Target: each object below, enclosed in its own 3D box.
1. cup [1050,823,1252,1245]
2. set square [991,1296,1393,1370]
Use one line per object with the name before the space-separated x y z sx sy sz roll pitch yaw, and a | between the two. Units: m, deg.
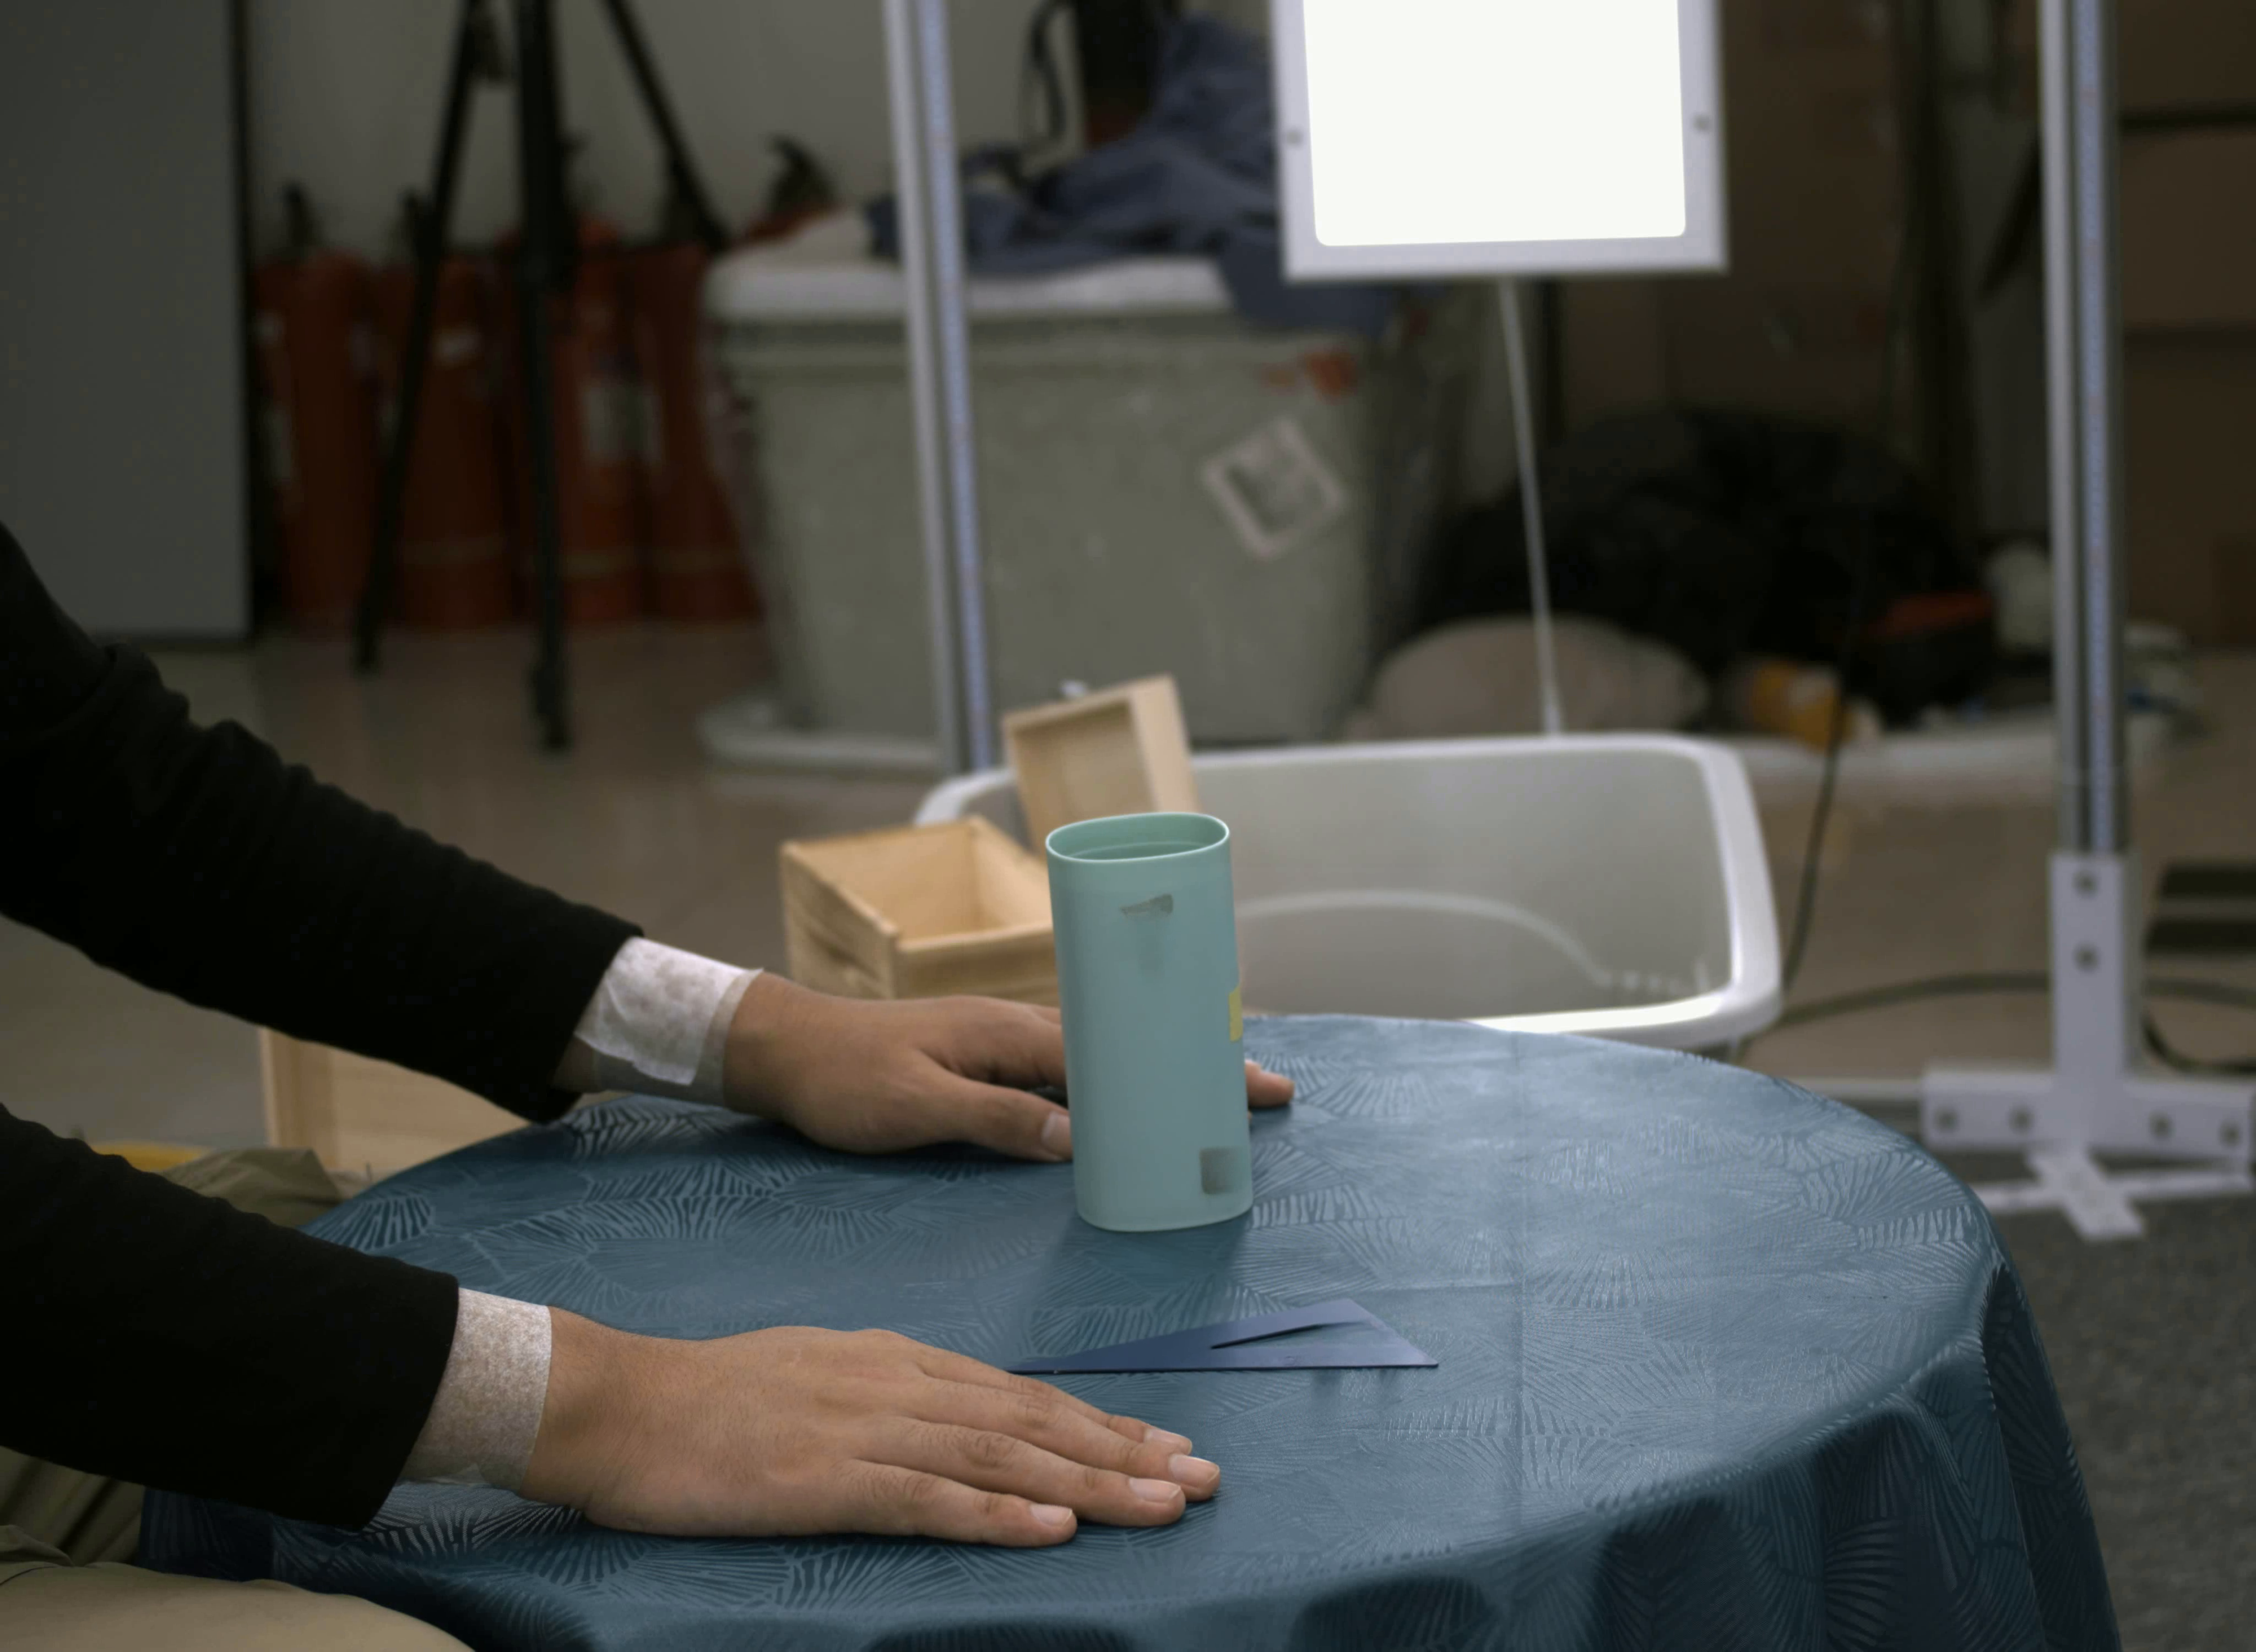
cup | 0.007 0.070 1.867 0.066 0.133 0.066 -4 14 0
set square | 0.025 0.159 1.748 0.133 0.006 0.060 -2 16 16
